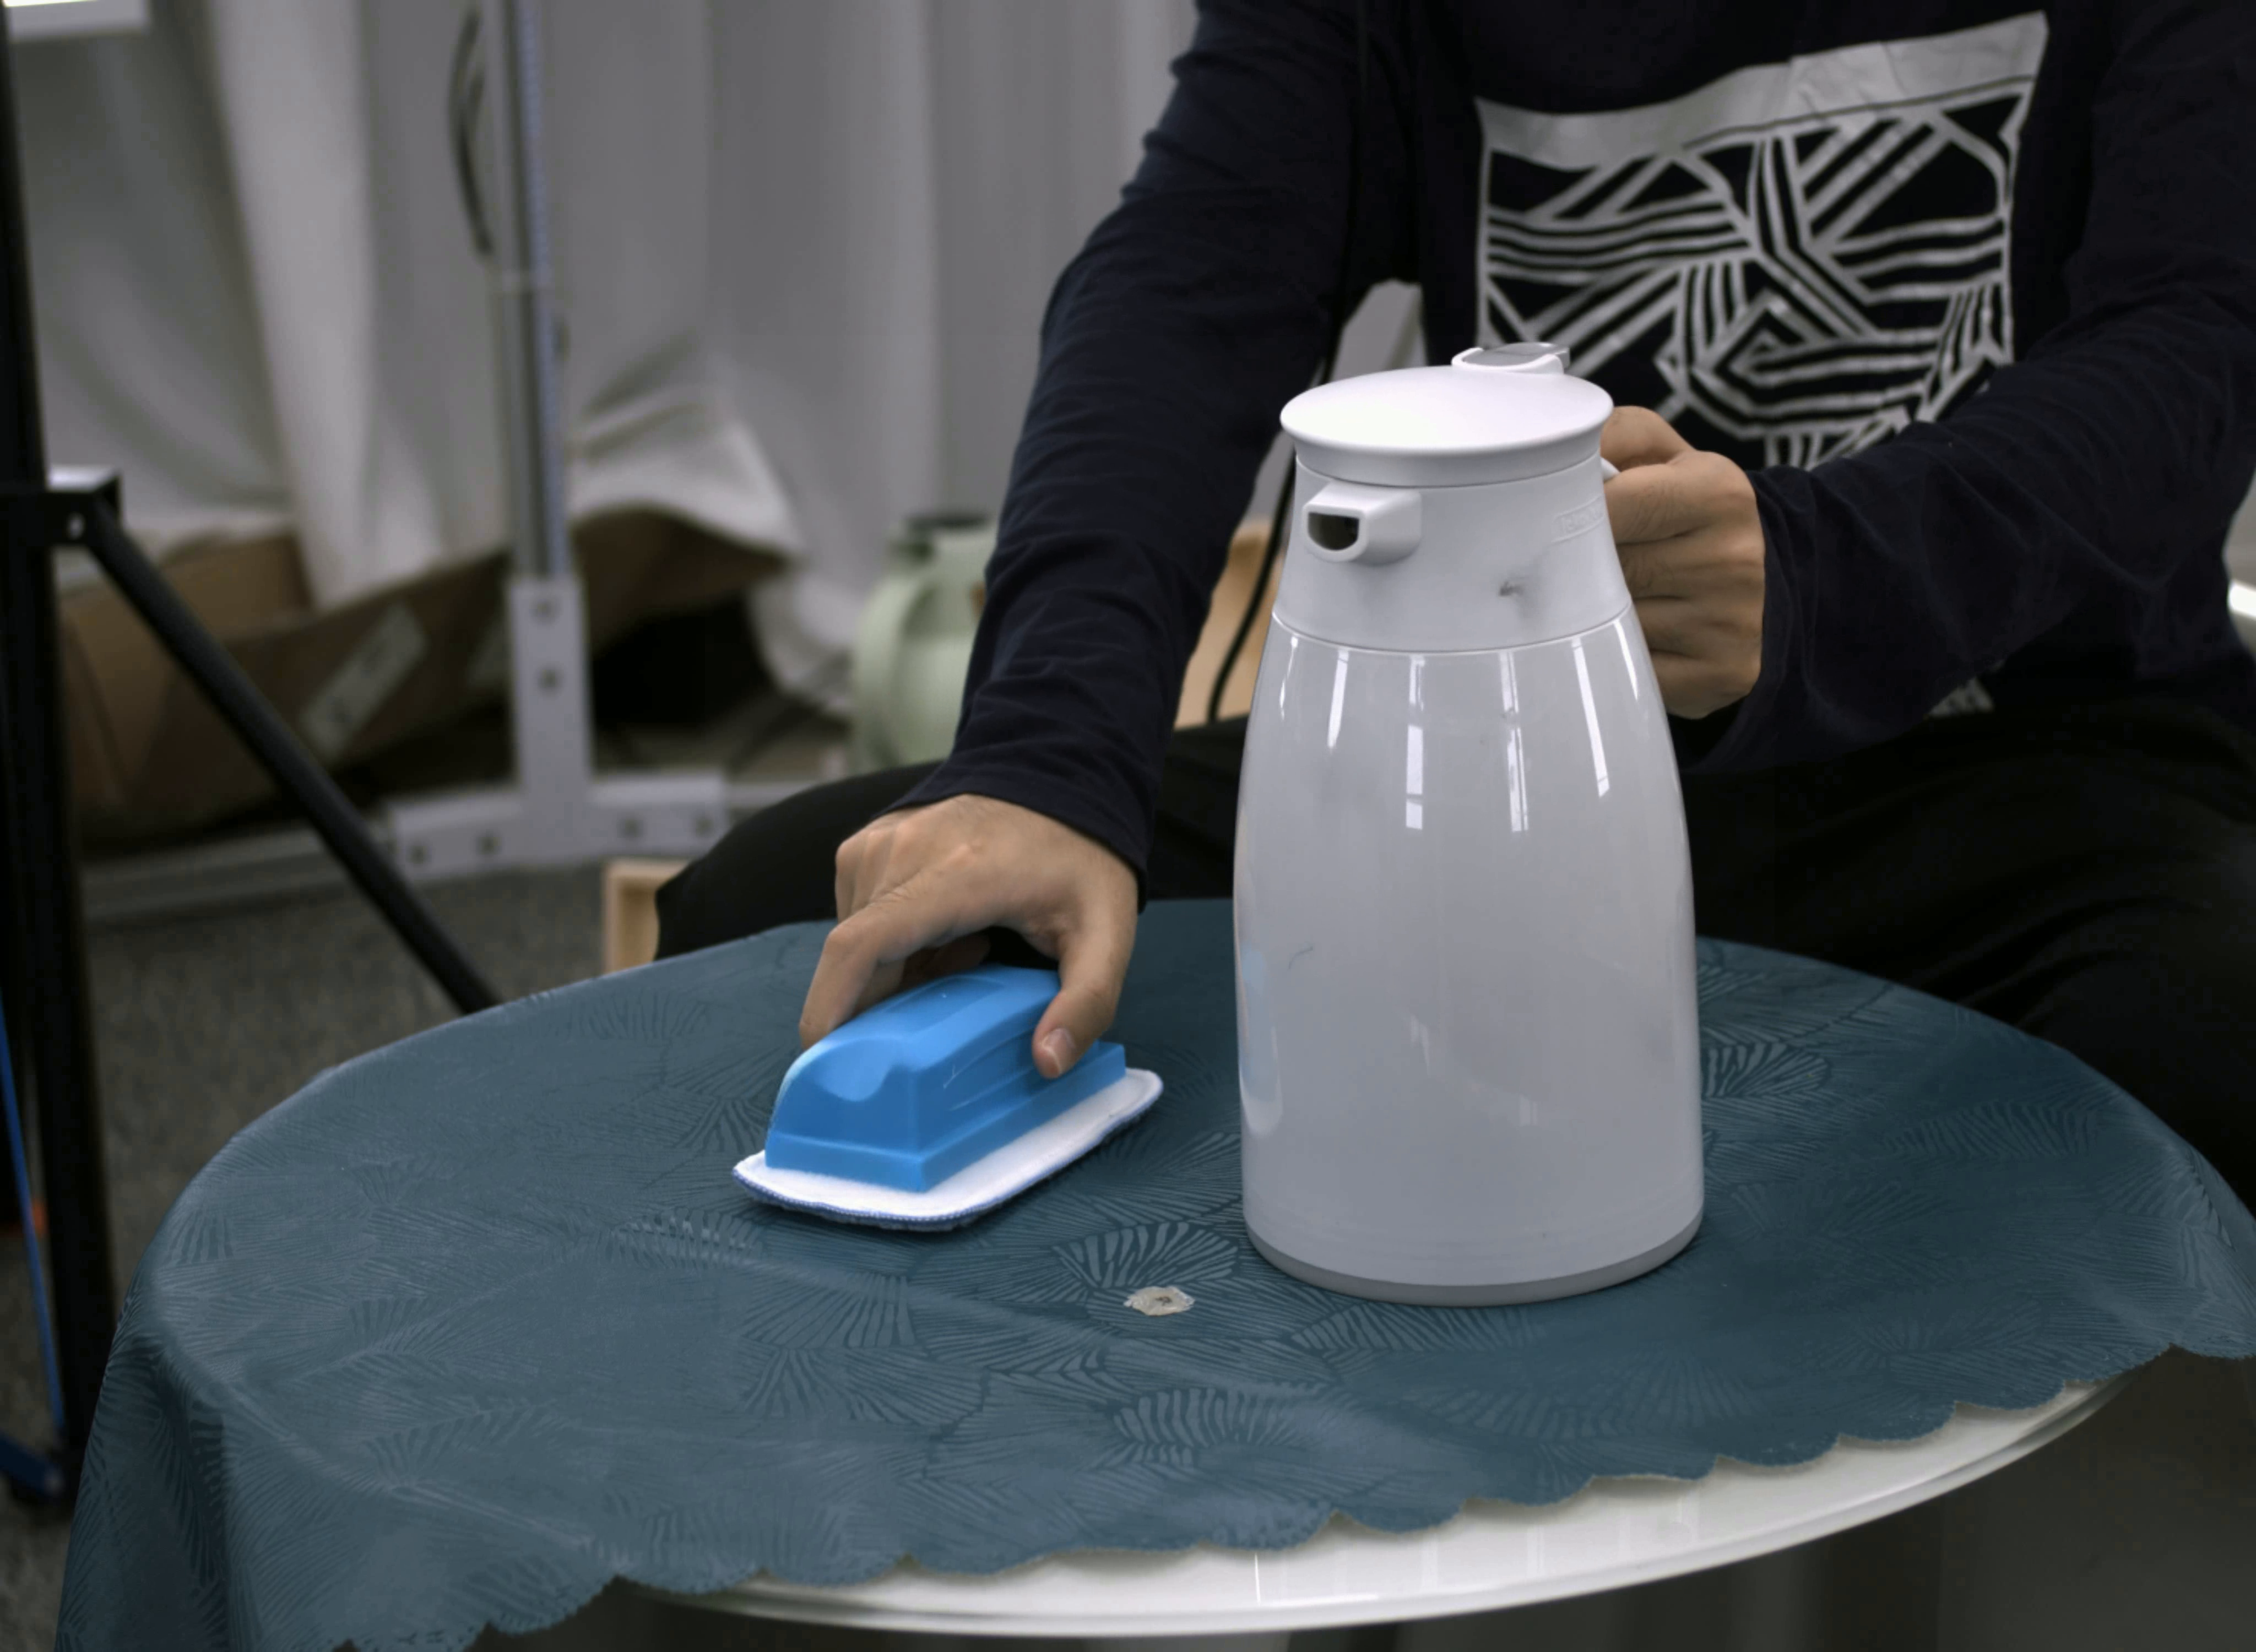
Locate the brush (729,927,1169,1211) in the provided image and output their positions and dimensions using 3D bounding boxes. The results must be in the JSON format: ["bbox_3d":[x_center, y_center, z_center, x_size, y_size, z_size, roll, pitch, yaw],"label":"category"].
[{"bbox_3d":[-0.052,0.069,1.598,0.085,0.056,0.141,12,22,31],"label":"brush"}]

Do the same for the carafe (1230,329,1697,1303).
[{"bbox_3d":[0.101,-0.011,1.498,0.135,0.248,0.165,8,20,31],"label":"carafe"}]
